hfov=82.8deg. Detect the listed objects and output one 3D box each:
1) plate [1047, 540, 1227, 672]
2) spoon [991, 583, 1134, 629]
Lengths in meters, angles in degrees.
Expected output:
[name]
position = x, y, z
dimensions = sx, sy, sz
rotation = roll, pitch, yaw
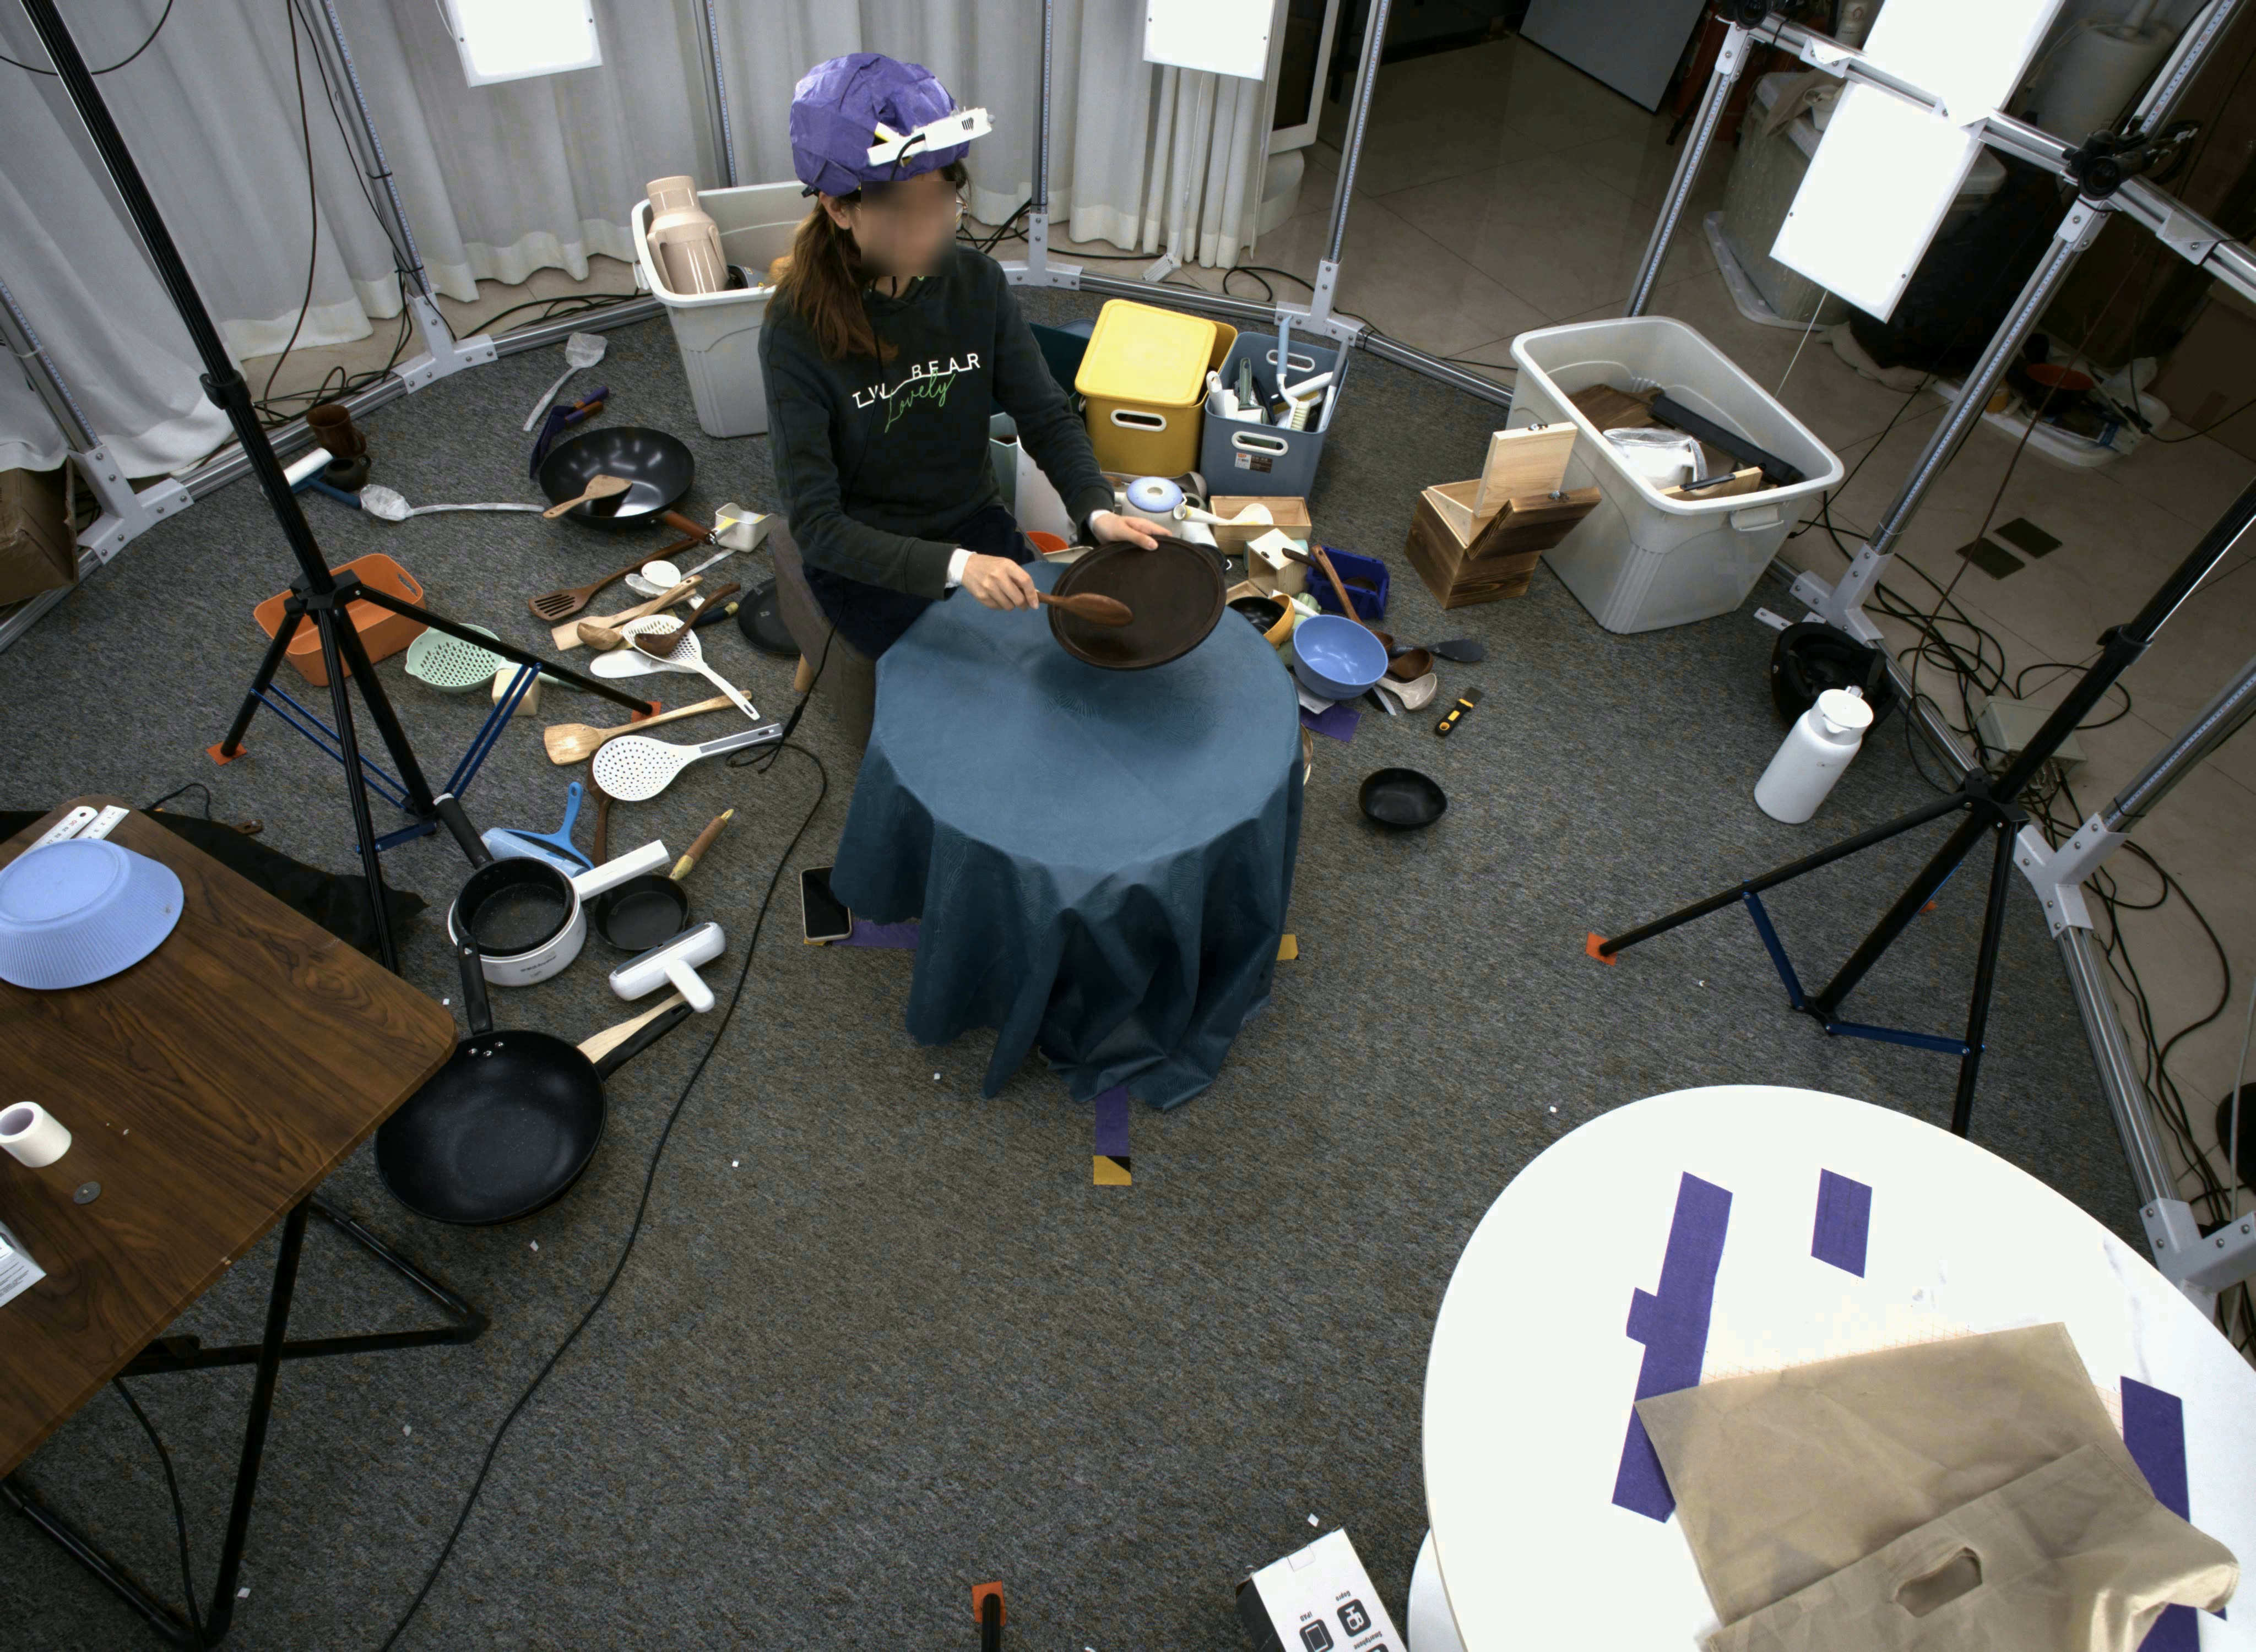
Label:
[plate]
position = 0.014, -0.311, 1.811
dimensions = 0.255, 0.028, 0.261
rotation = -5, 53, 7
[spoon]
position = -0.092, -0.303, 1.762
dimensions = 0.217, 0.074, 0.017
rotation = 16, 76, 21
